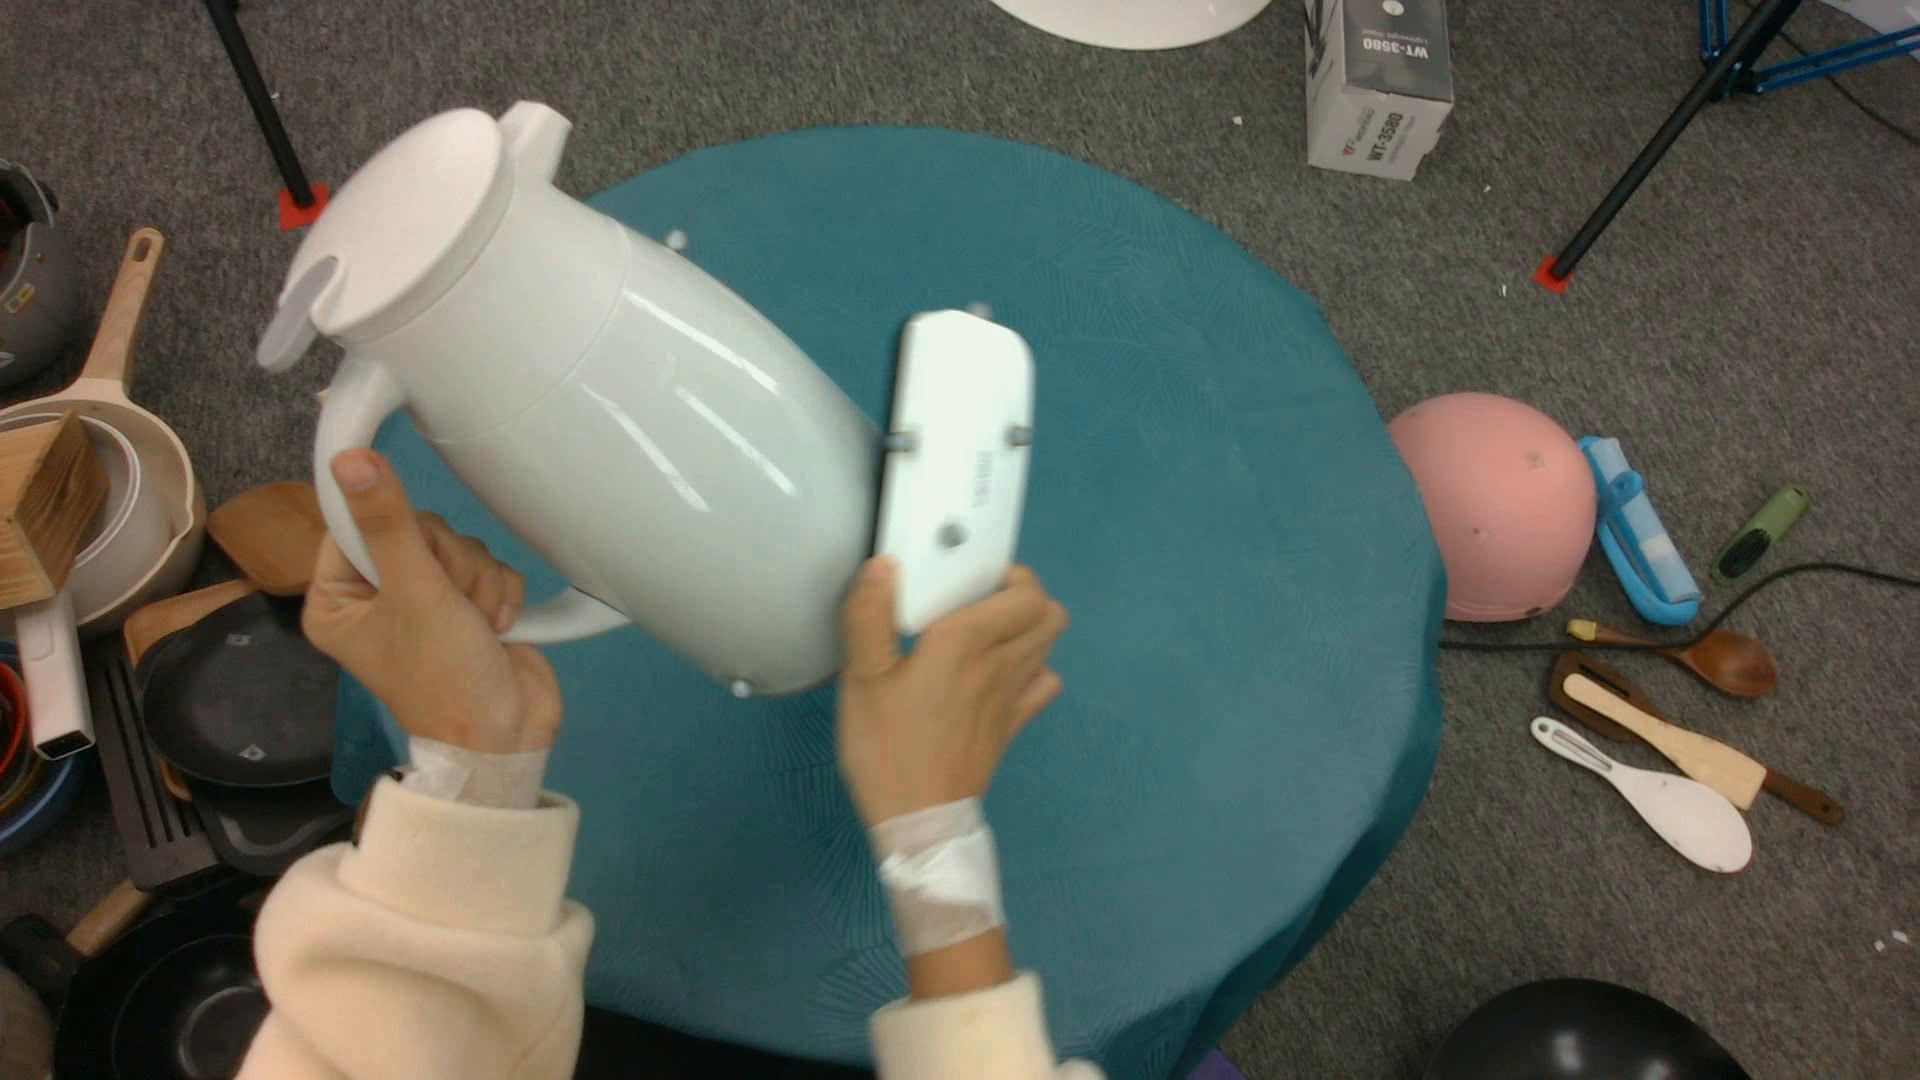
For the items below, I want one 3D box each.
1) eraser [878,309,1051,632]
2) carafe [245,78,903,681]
[{"bbox_3d":[0.004,-0.029,0.577,0.034,0.063,0.131,3,80,43],"label":"eraser"},{"bbox_3d":[-0.139,-0.039,0.520,0.132,0.248,0.168,20,74,39],"label":"carafe"}]
